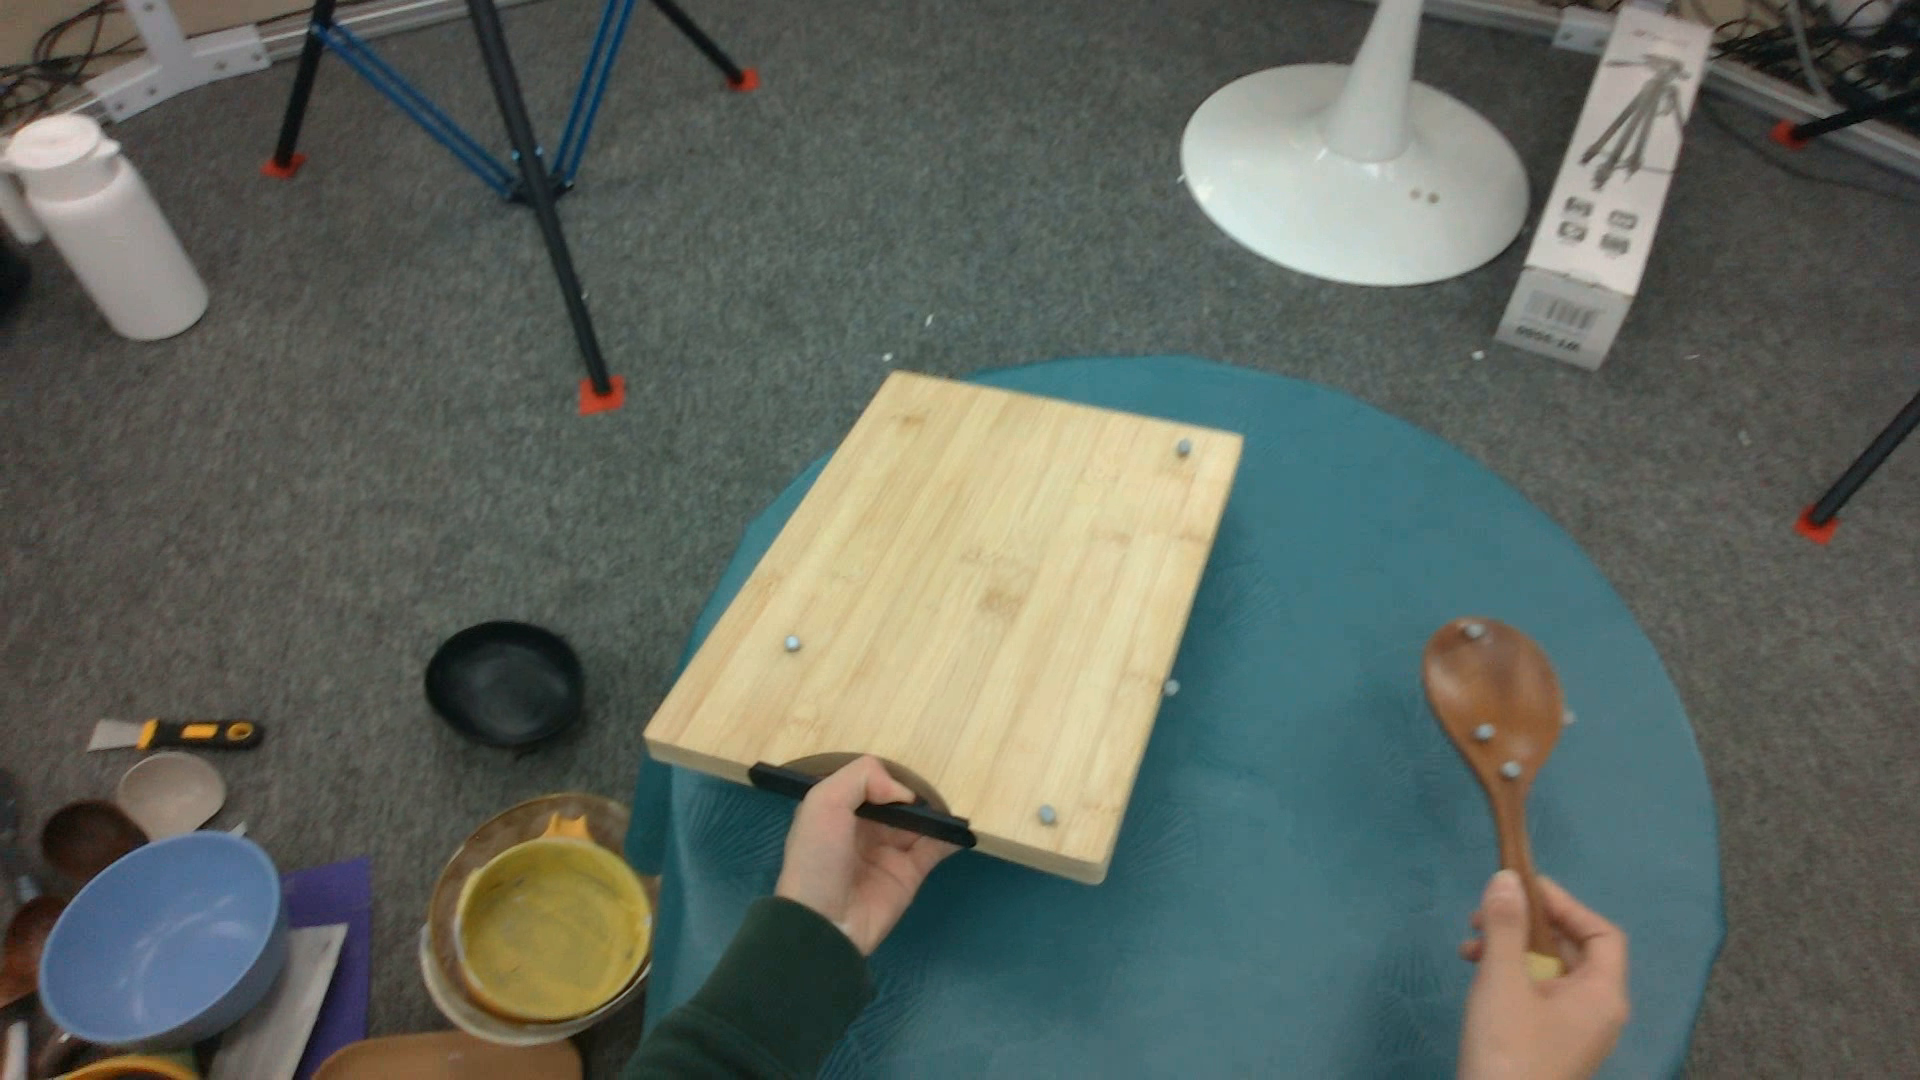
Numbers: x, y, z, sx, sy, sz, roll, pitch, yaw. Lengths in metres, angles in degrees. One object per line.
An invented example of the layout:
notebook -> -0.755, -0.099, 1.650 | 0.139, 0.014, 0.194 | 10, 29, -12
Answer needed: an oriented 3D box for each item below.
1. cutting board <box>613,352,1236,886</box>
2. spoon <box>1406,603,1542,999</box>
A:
cutting board -> 0.000, 0.018, 0.776 | 0.250, 0.023, 0.350 | 12, 44, 15
spoon -> 0.264, 0.123, 0.694 | 0.075, 0.017, 0.217 | 11, 52, -3
